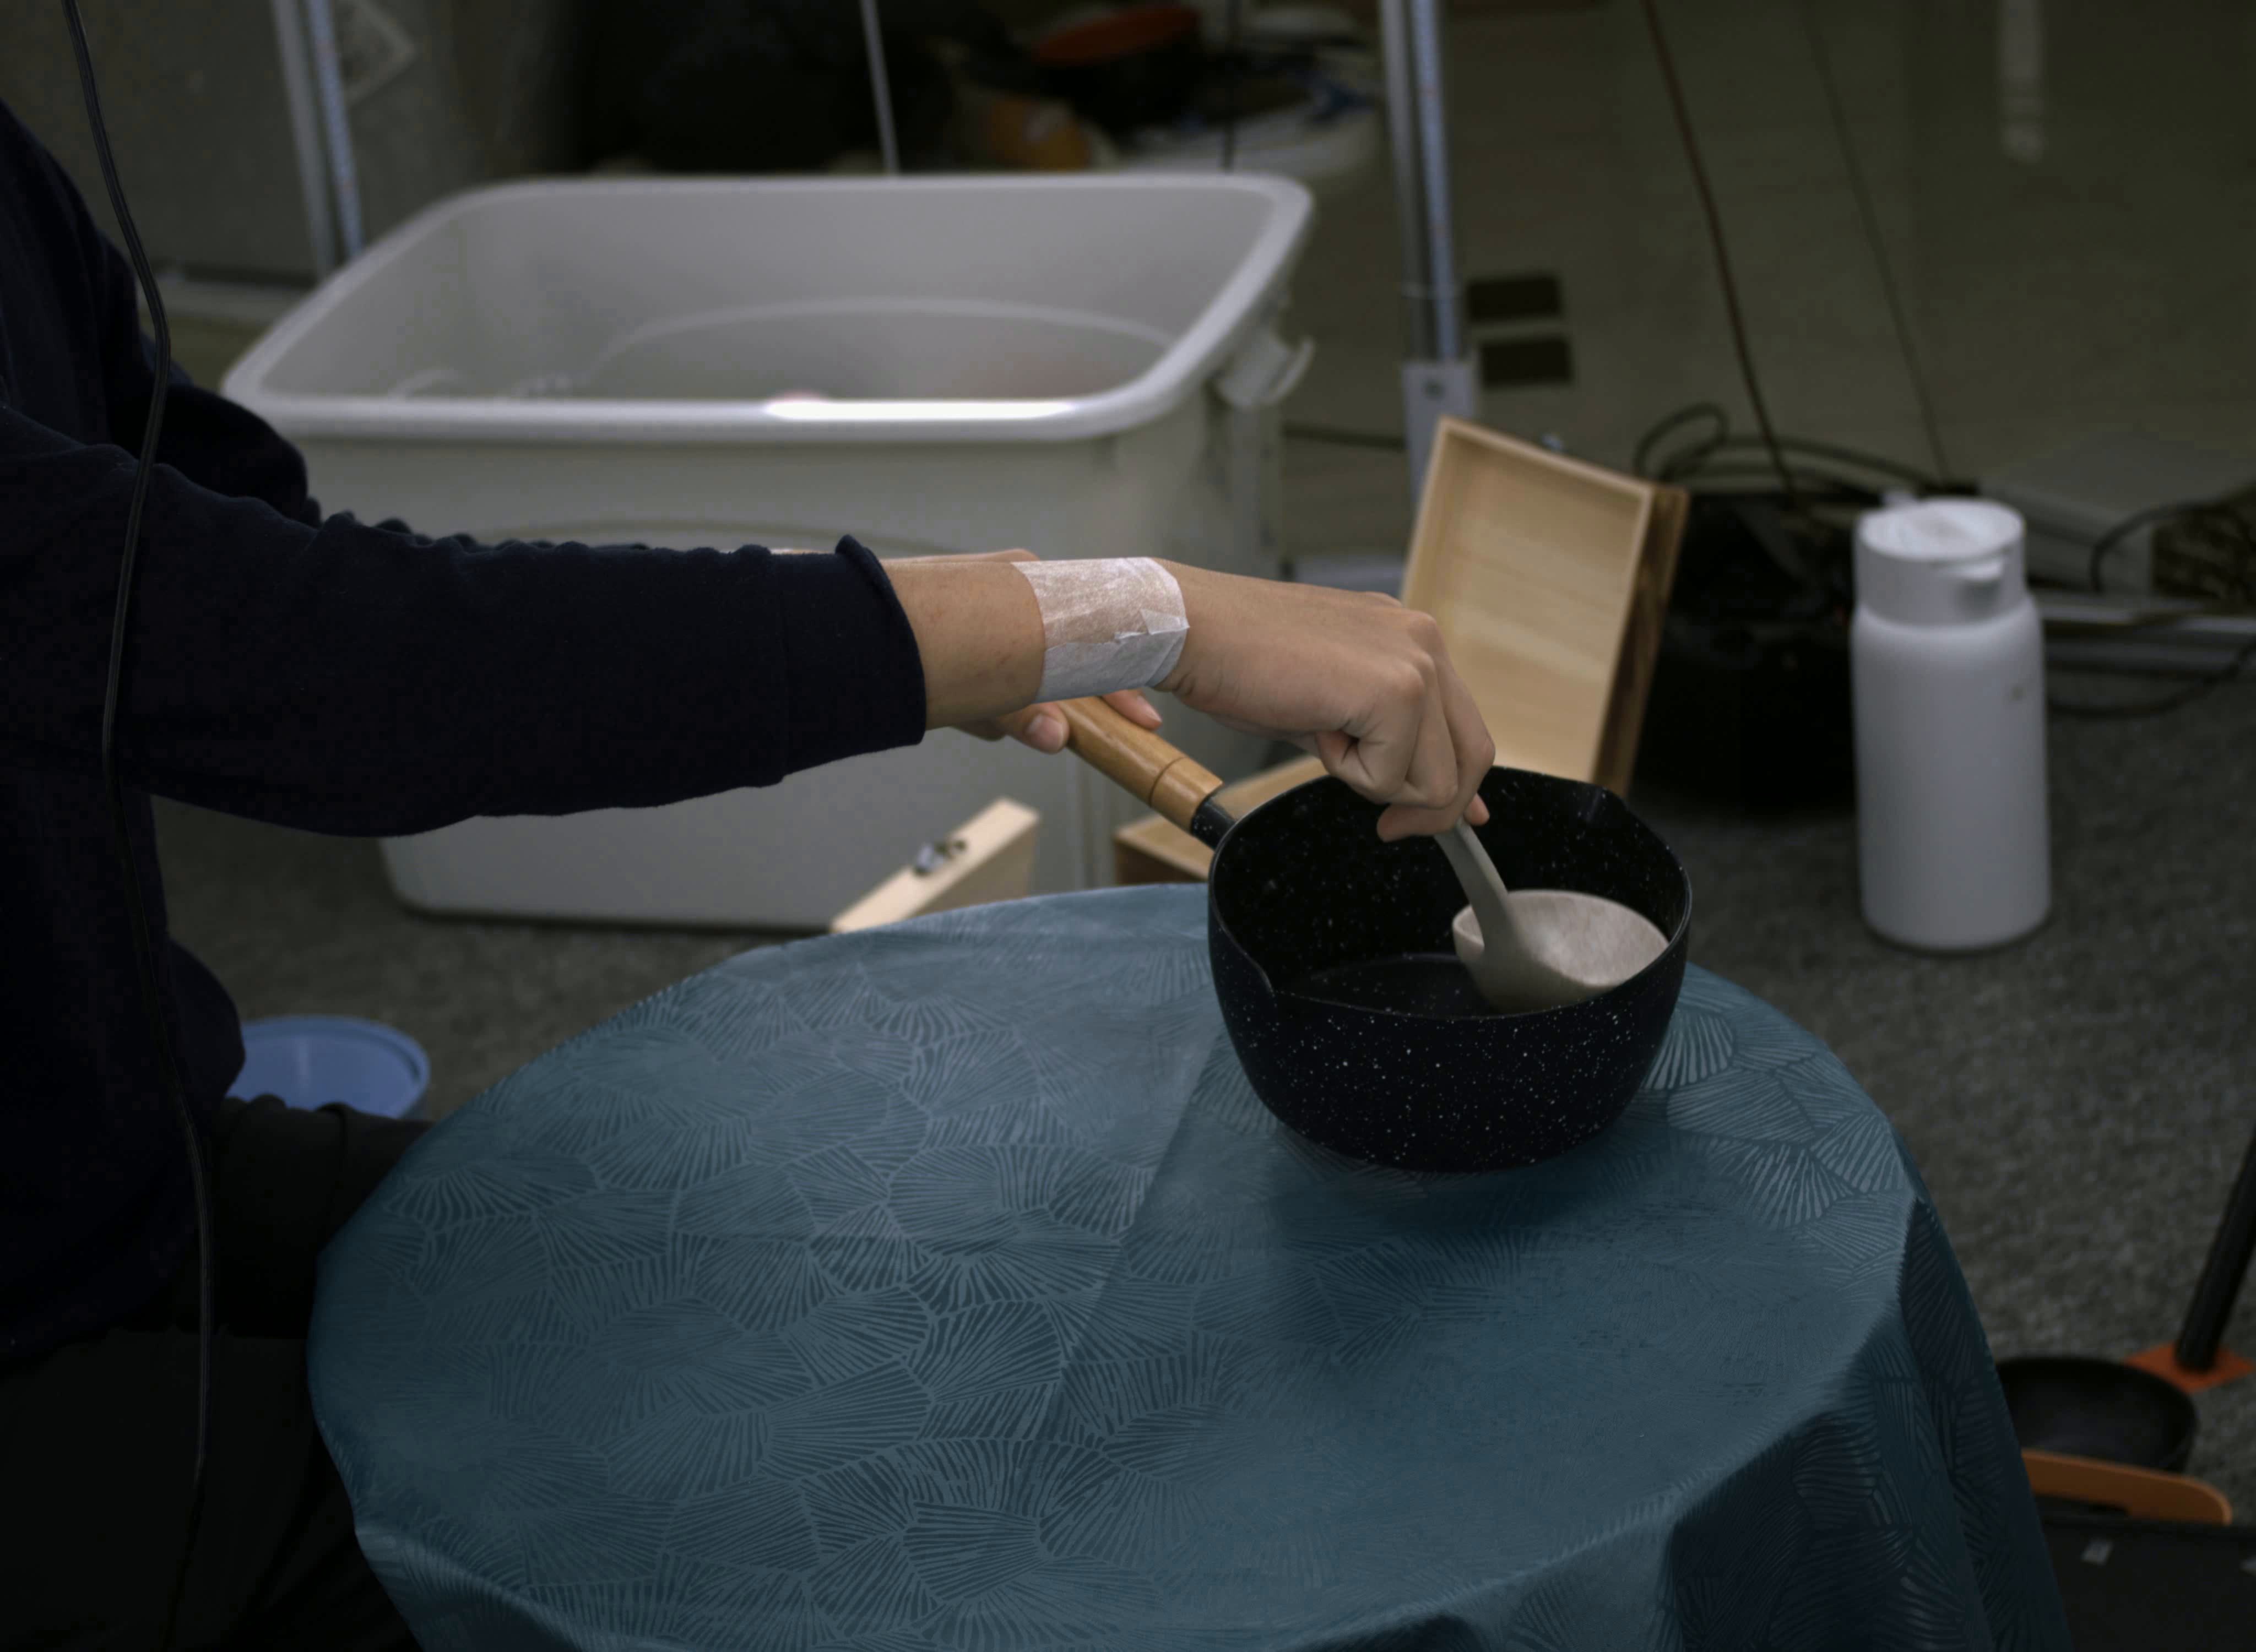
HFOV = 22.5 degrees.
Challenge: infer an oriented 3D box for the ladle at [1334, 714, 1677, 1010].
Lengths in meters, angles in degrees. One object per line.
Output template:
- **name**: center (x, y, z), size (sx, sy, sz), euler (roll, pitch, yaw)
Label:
- **ladle**: center (0.134, 0.001, 2.072), size (0.088, 0.279, 0.069), euler (27, 74, 29)

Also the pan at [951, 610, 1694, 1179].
- **pan**: center (0.060, 0.021, 2.202), size (0.340, 0.110, 0.205), euler (25, 41, 32)
